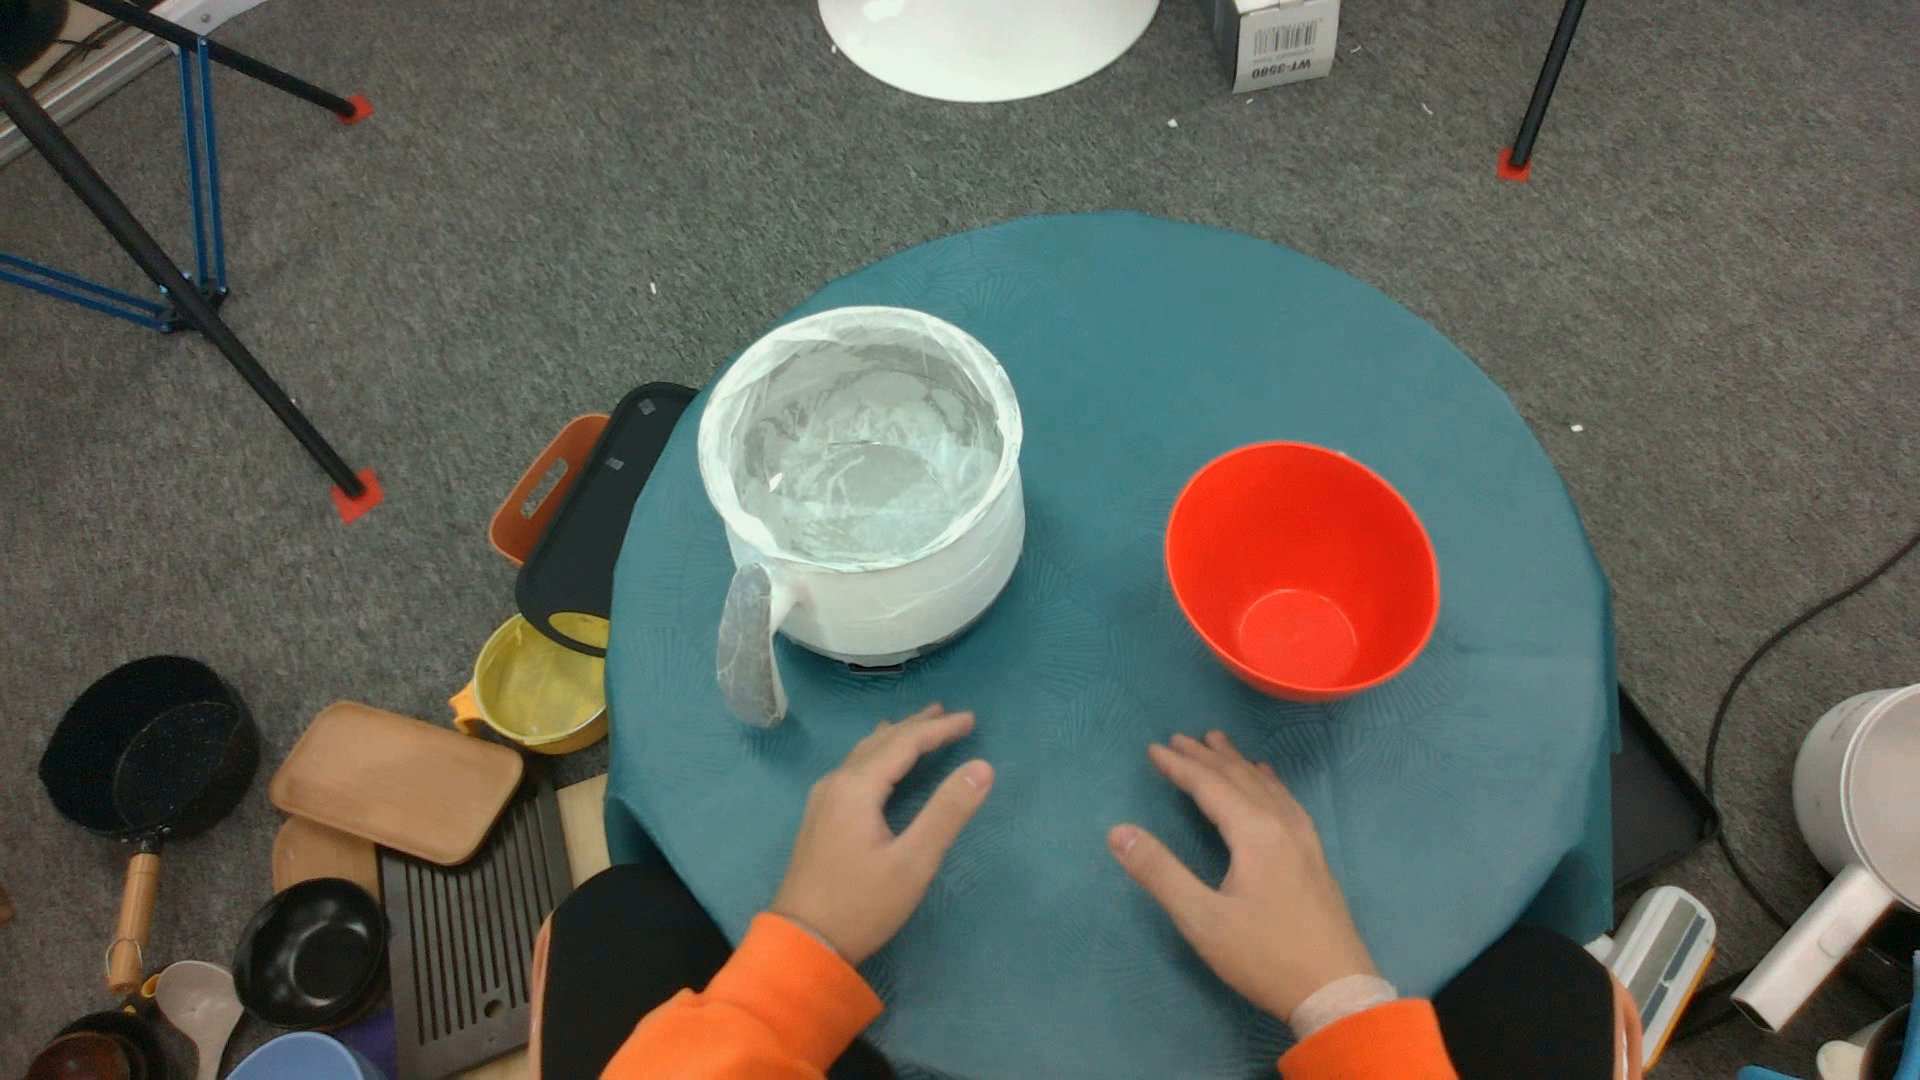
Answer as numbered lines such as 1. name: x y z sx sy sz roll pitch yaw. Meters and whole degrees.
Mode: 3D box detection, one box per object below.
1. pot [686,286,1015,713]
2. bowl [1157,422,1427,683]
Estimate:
1. pot: -0.070 -0.016 0.788 0.178 0.136 0.234 23 64 16
2. bowl: 0.181 0.021 0.775 0.148 0.104 0.148 -1 60 1
